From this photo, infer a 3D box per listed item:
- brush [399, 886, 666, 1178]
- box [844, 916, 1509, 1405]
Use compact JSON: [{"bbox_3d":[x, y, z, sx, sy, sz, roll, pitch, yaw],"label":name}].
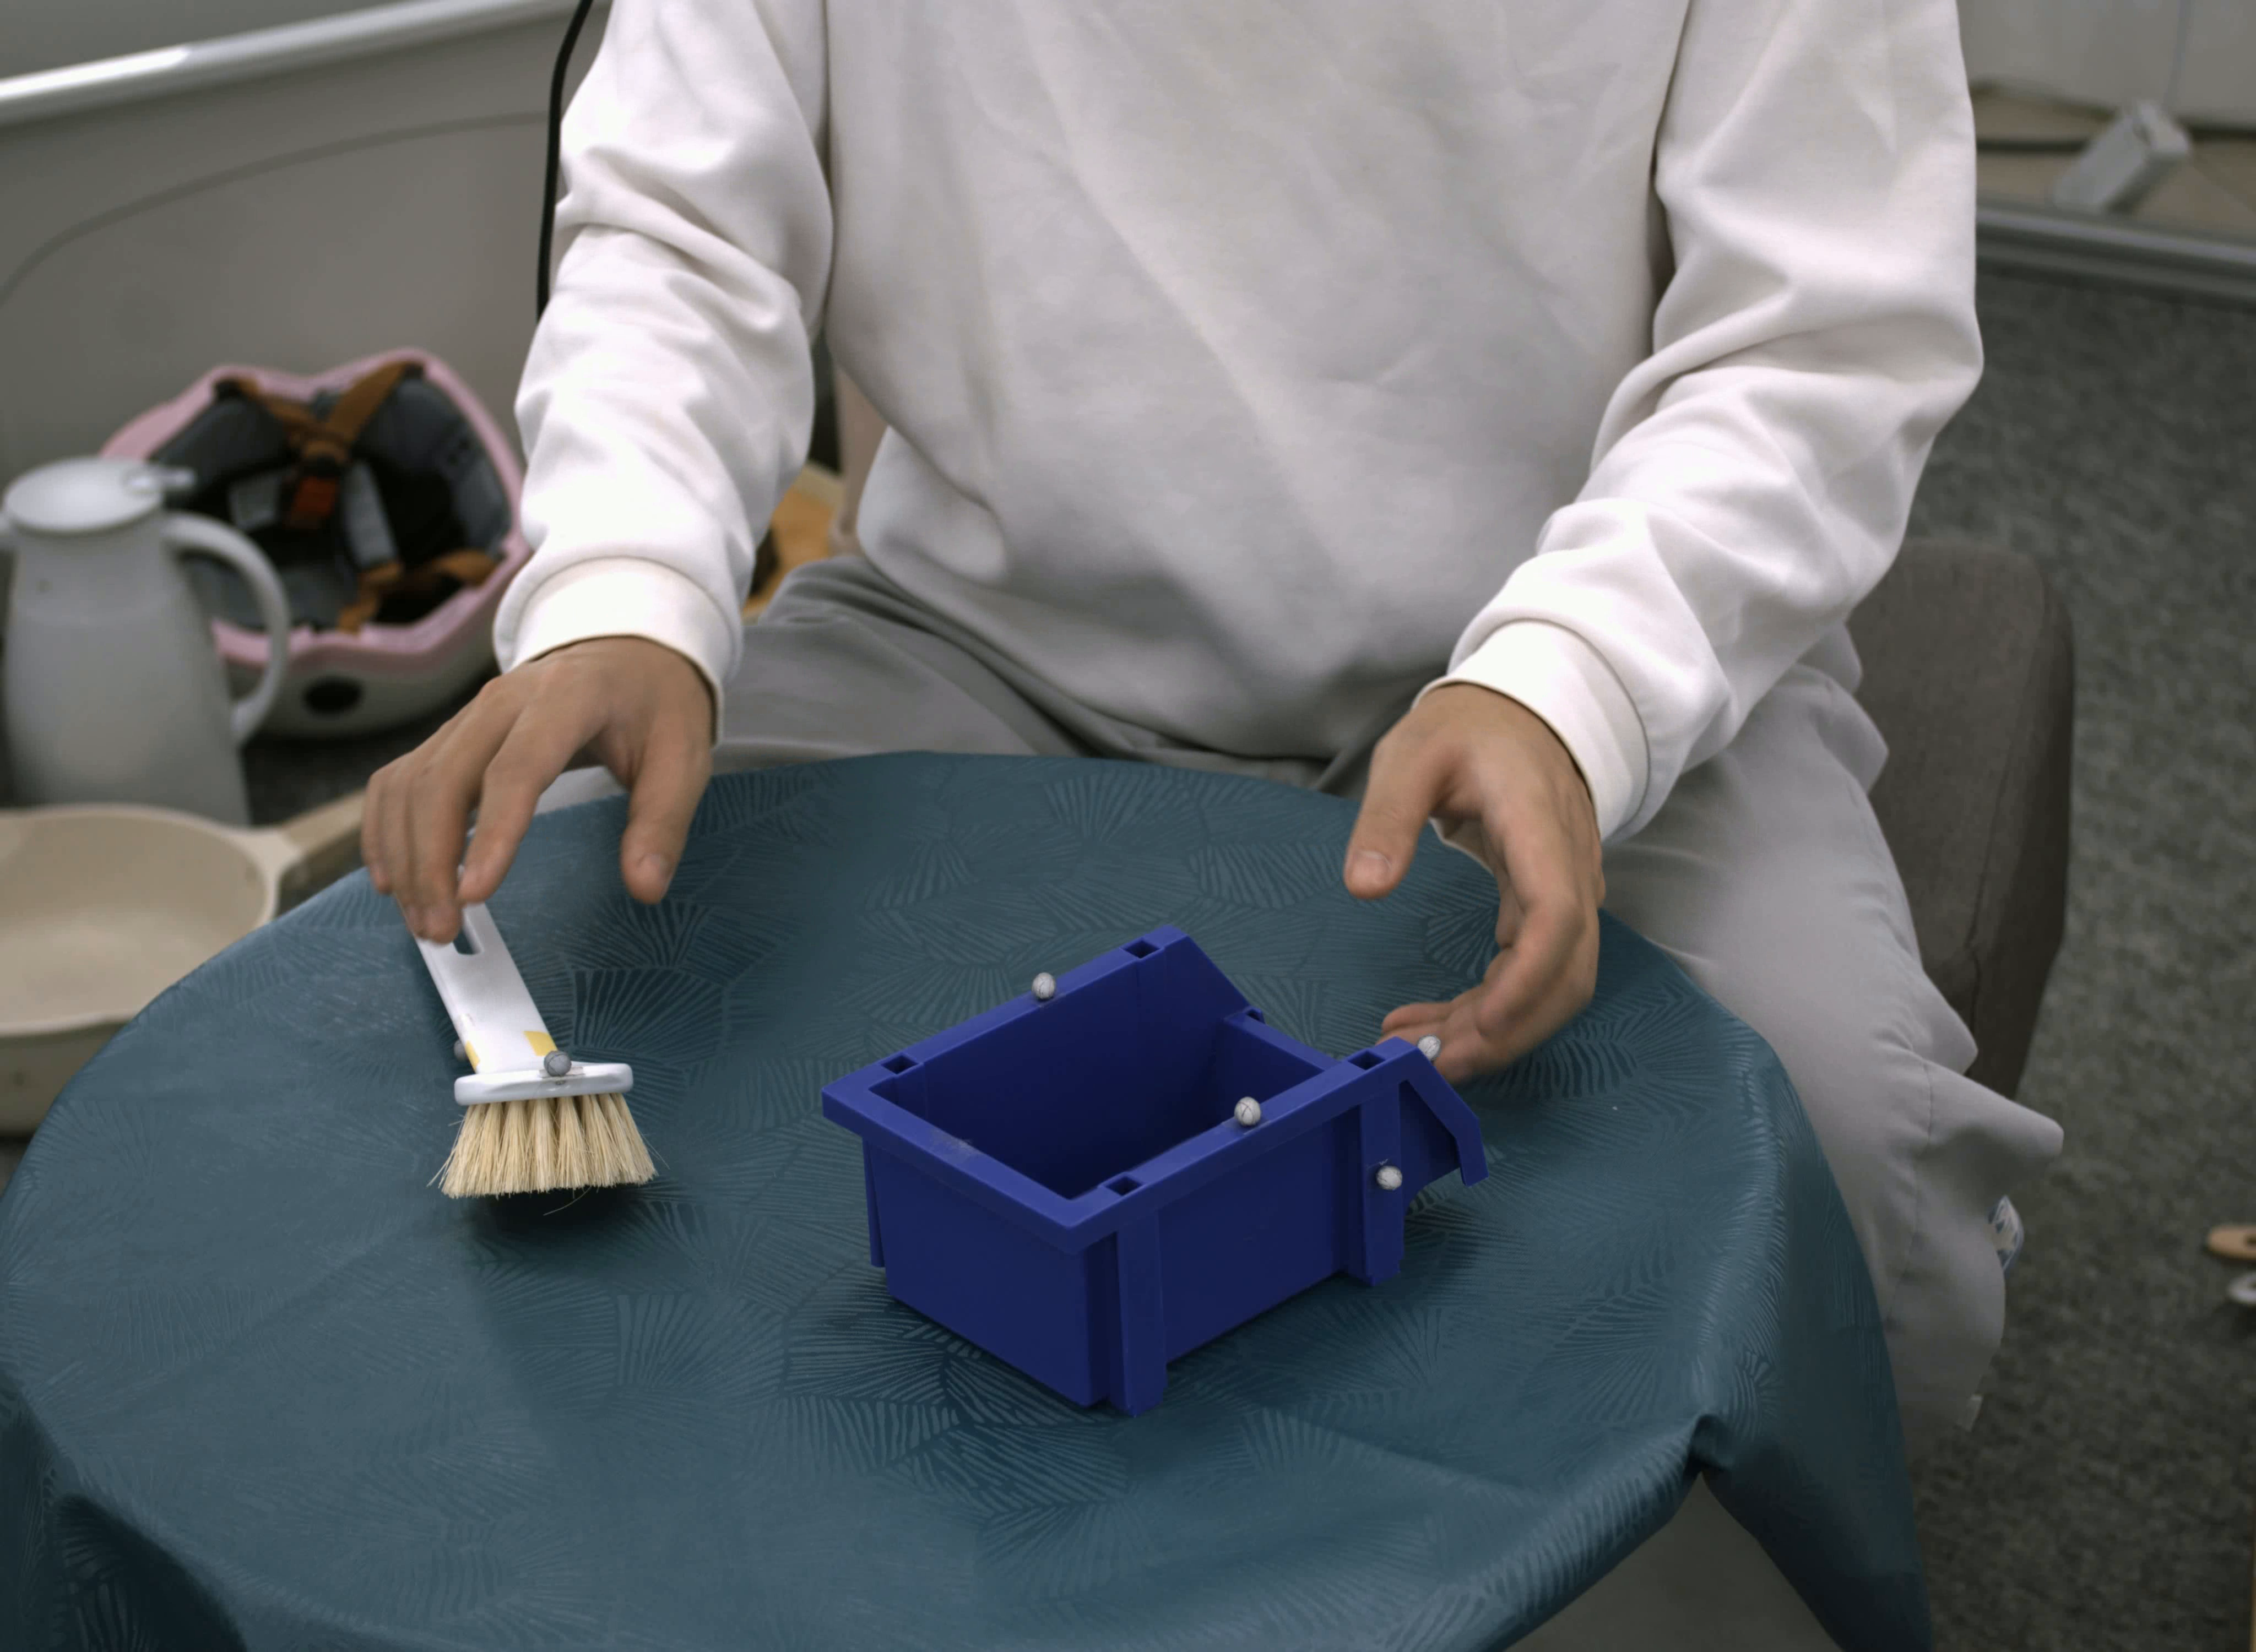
[{"bbox_3d":[-0.217,0.075,1.955,0.068,0.056,0.267,4,10,-19],"label":"brush"},{"bbox_3d":[0.016,0.103,1.812,0.181,0.081,0.124,-26,35,-35],"label":"box"}]
